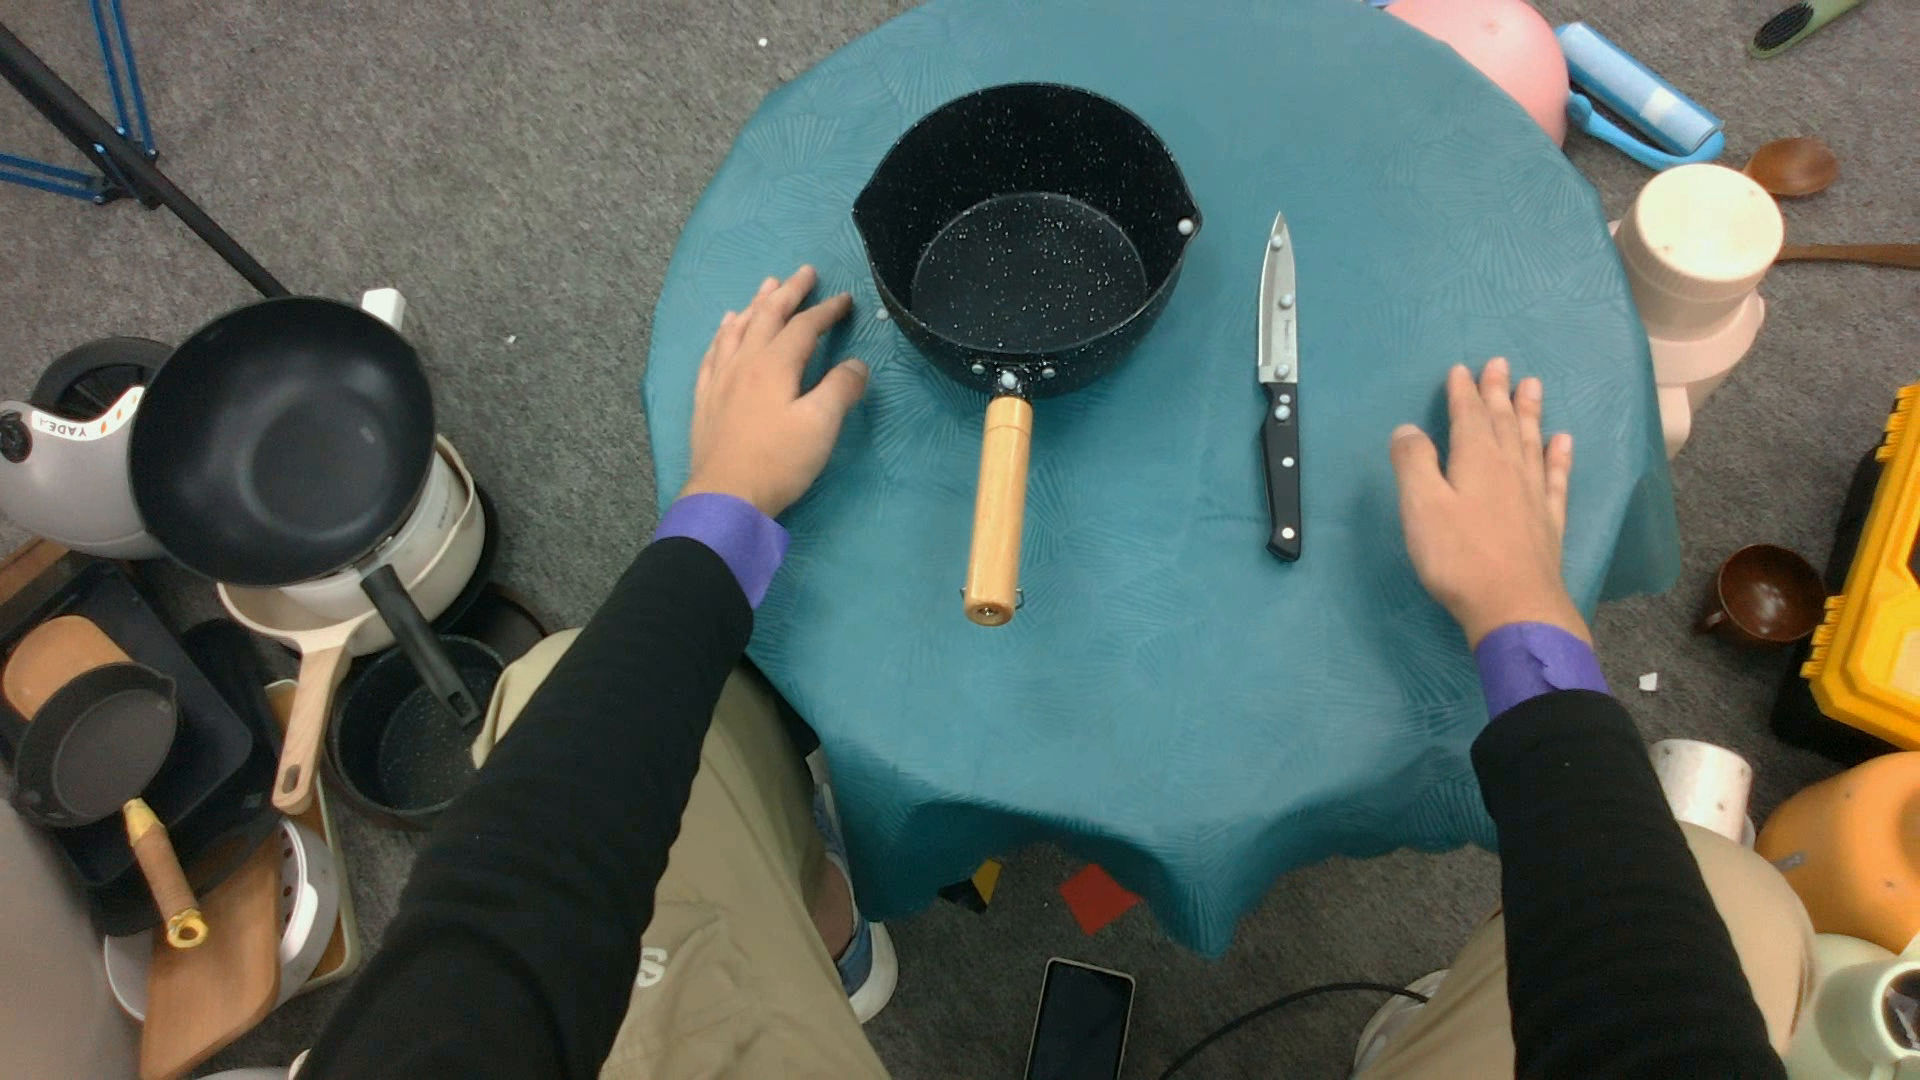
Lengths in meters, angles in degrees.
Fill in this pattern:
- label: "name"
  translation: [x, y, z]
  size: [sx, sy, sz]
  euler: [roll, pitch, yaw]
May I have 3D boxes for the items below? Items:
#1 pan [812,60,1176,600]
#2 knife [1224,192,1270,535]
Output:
- label: "pan"
  translation: [0.015, -0.113, 0.777]
  size: [0.207, 0.108, 0.344]
  euler: [2, 66, 4]
- label: "knife"
  translation: [0.171, -0.112, 0.819]
  size: [0.024, 0.016, 0.239]
  euler: [0, 65, 8]
